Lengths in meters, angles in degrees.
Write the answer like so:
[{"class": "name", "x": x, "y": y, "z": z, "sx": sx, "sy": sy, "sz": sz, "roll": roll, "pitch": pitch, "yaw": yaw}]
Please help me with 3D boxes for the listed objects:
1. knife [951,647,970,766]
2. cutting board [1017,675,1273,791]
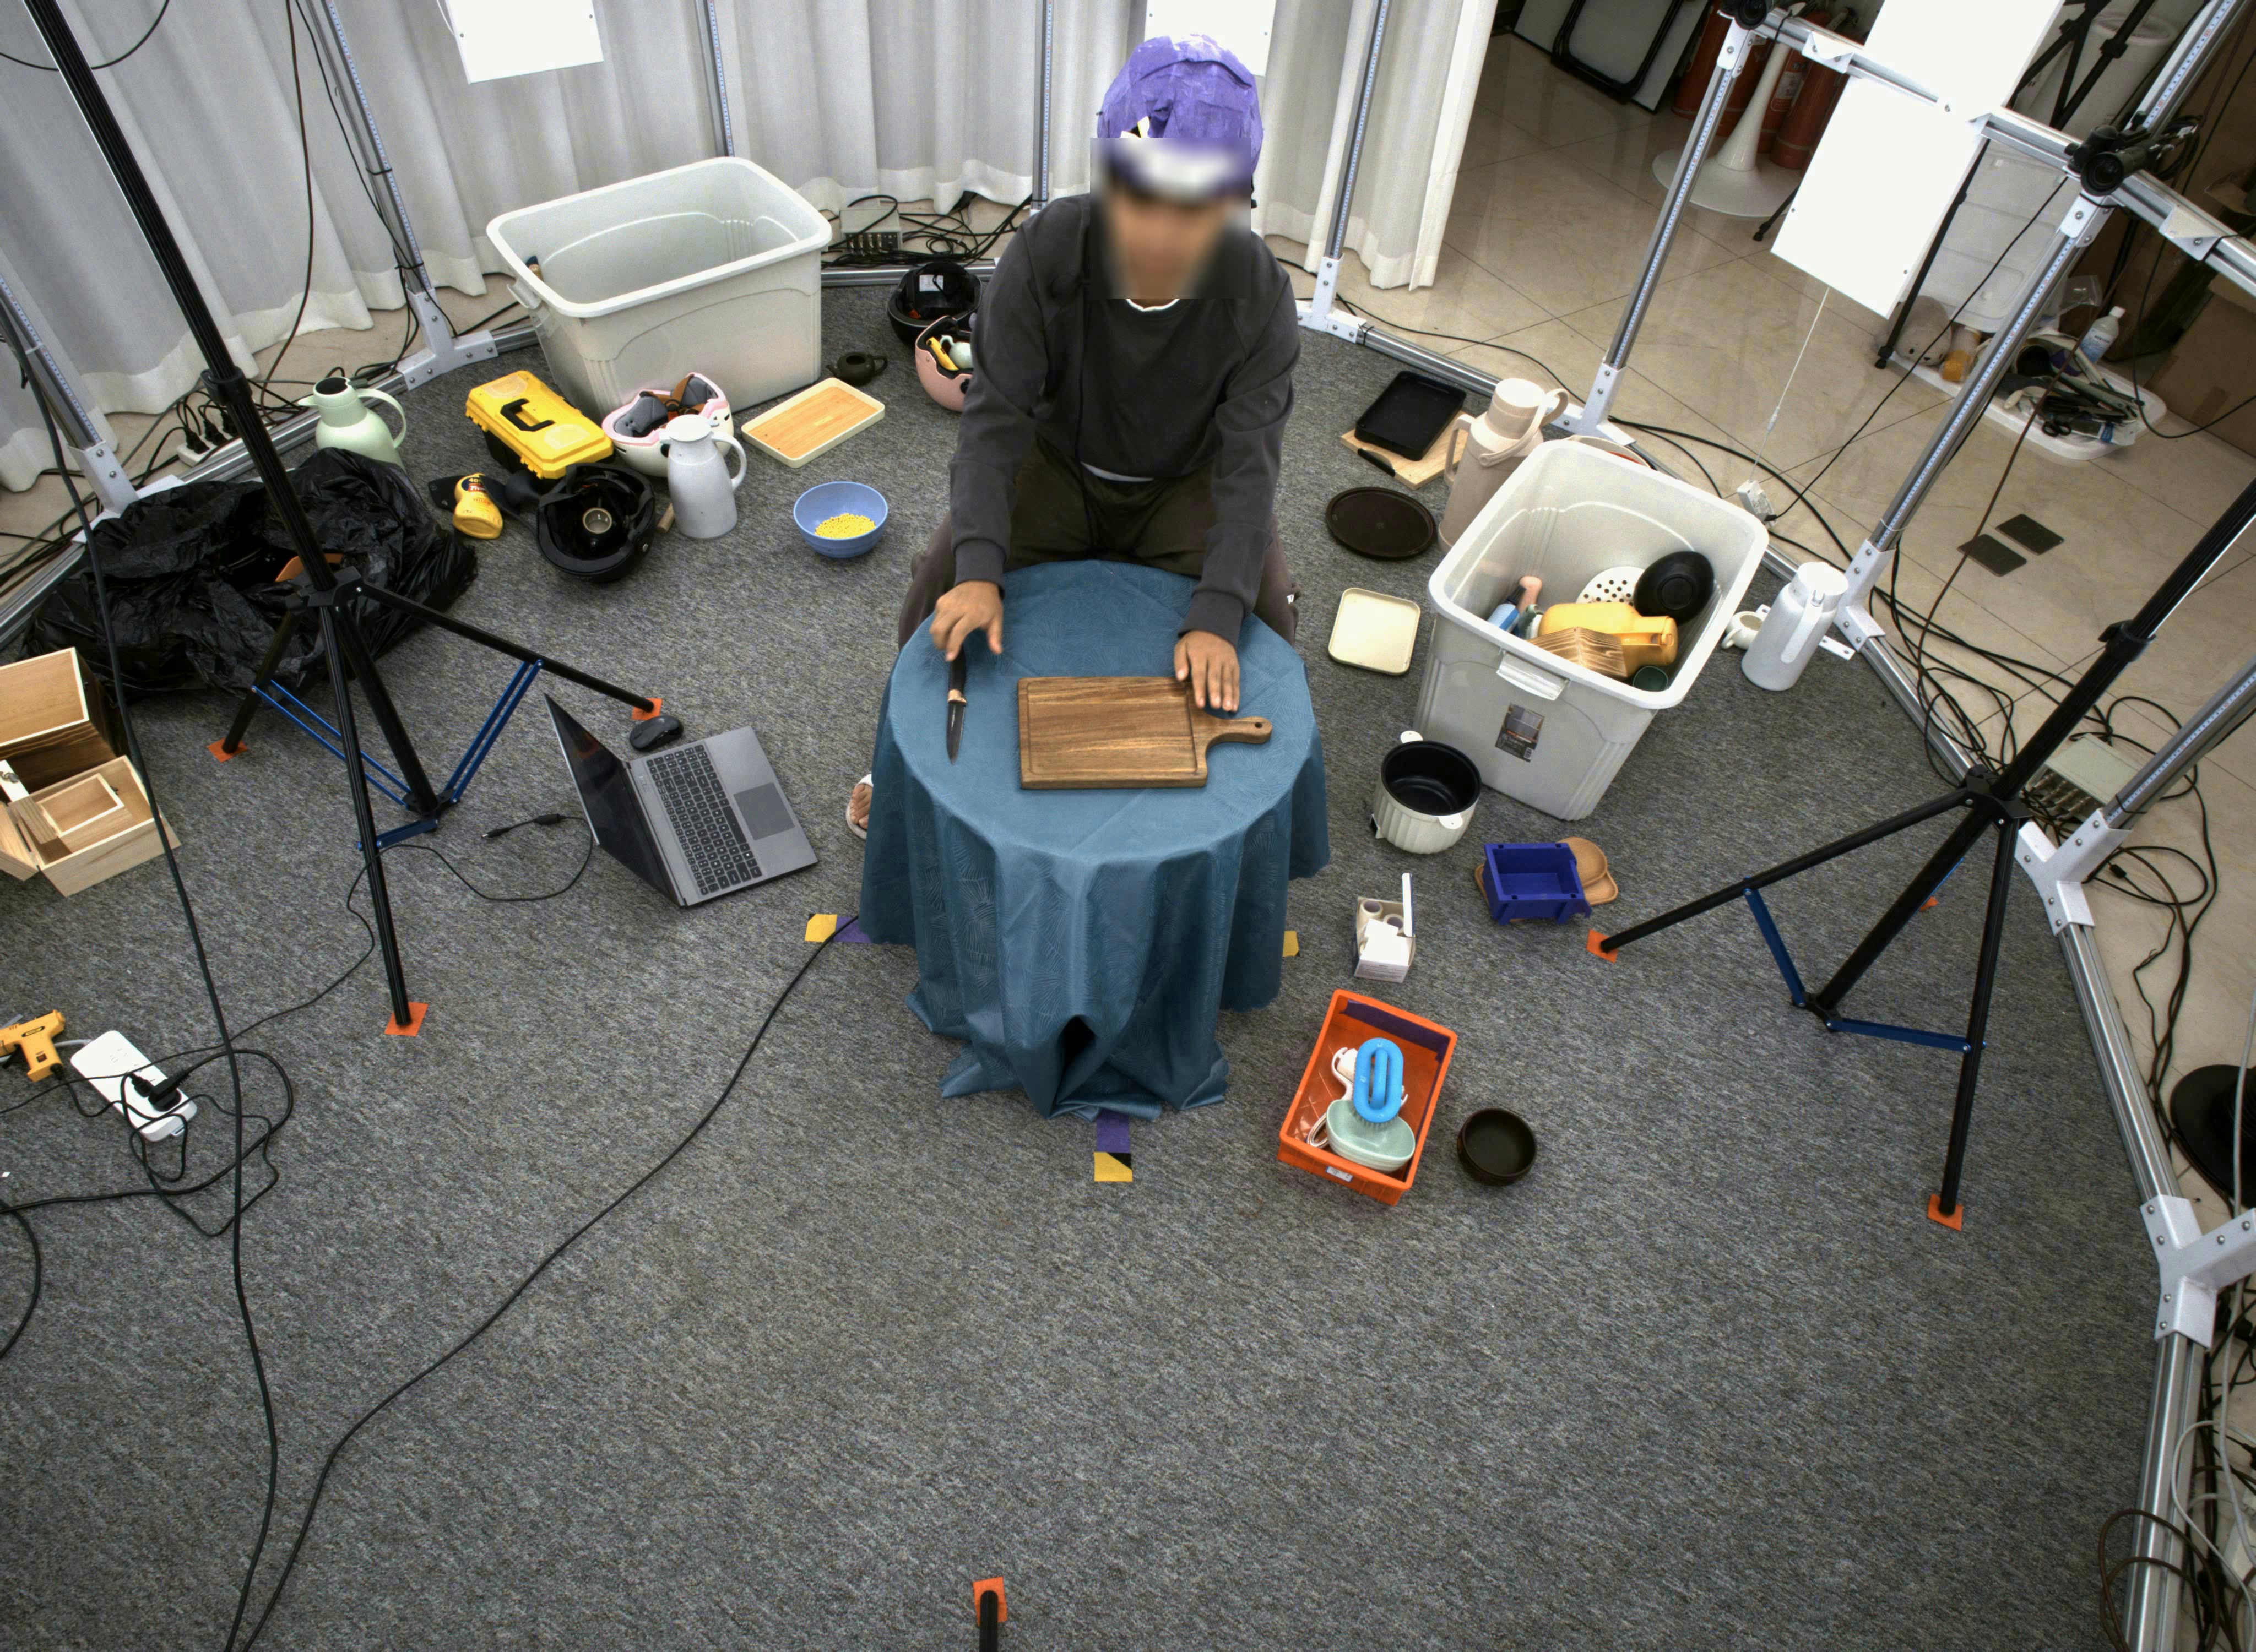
[{"class": "knife", "x": -0.233, "y": -0.169, "z": 1.787, "sx": 0.026, "sy": 0.017, "sz": 0.231, "roll": 4, "pitch": 49, "yaw": -8}, {"class": "cutting board", "x": 0.026, "y": -0.132, "z": 1.768, "sx": 0.351, "sy": 0.022, "sz": 0.206, "roll": -1, "pitch": 49, "yaw": -5}]
